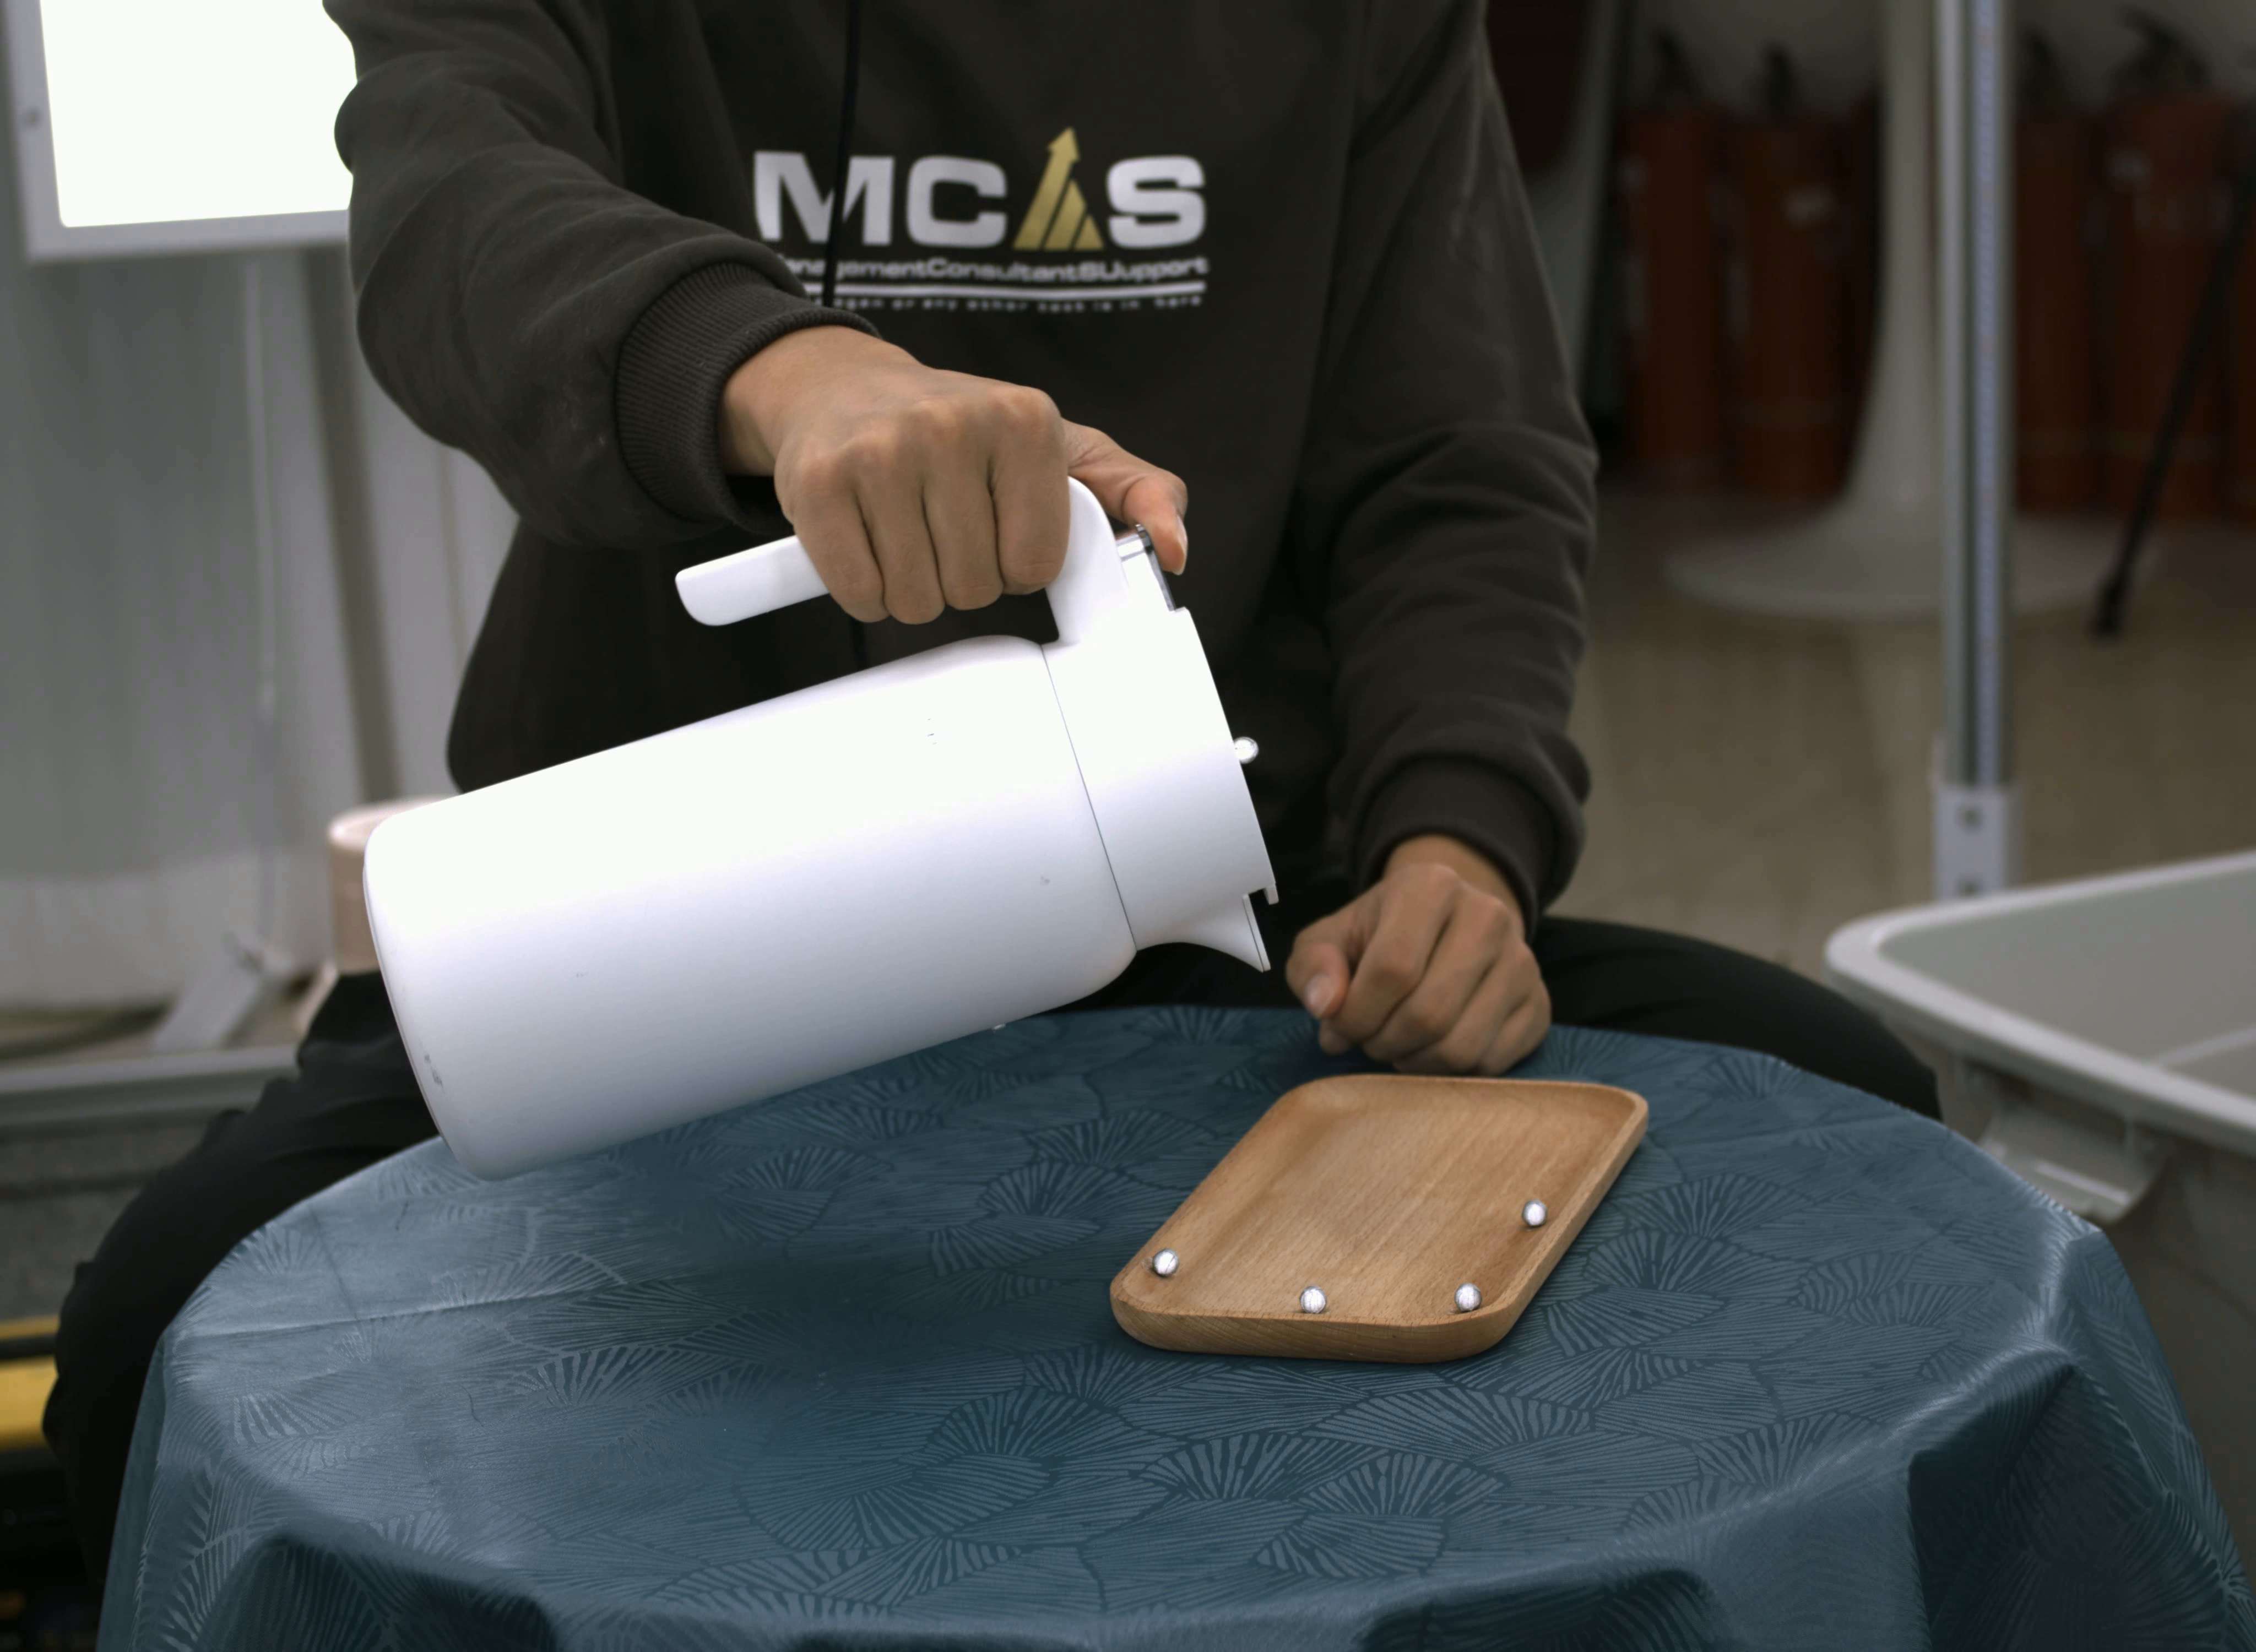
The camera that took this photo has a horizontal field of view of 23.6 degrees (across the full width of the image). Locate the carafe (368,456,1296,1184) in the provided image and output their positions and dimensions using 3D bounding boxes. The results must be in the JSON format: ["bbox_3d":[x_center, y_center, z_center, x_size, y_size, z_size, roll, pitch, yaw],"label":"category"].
[{"bbox_3d":[-0.097,-0.001,1.647,0.266,0.174,0.124,-18,5,2],"label":"carafe"}]

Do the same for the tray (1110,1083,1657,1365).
[{"bbox_3d":[0.085,0.124,1.711,0.130,0.023,0.248,3,14,19],"label":"tray"}]
